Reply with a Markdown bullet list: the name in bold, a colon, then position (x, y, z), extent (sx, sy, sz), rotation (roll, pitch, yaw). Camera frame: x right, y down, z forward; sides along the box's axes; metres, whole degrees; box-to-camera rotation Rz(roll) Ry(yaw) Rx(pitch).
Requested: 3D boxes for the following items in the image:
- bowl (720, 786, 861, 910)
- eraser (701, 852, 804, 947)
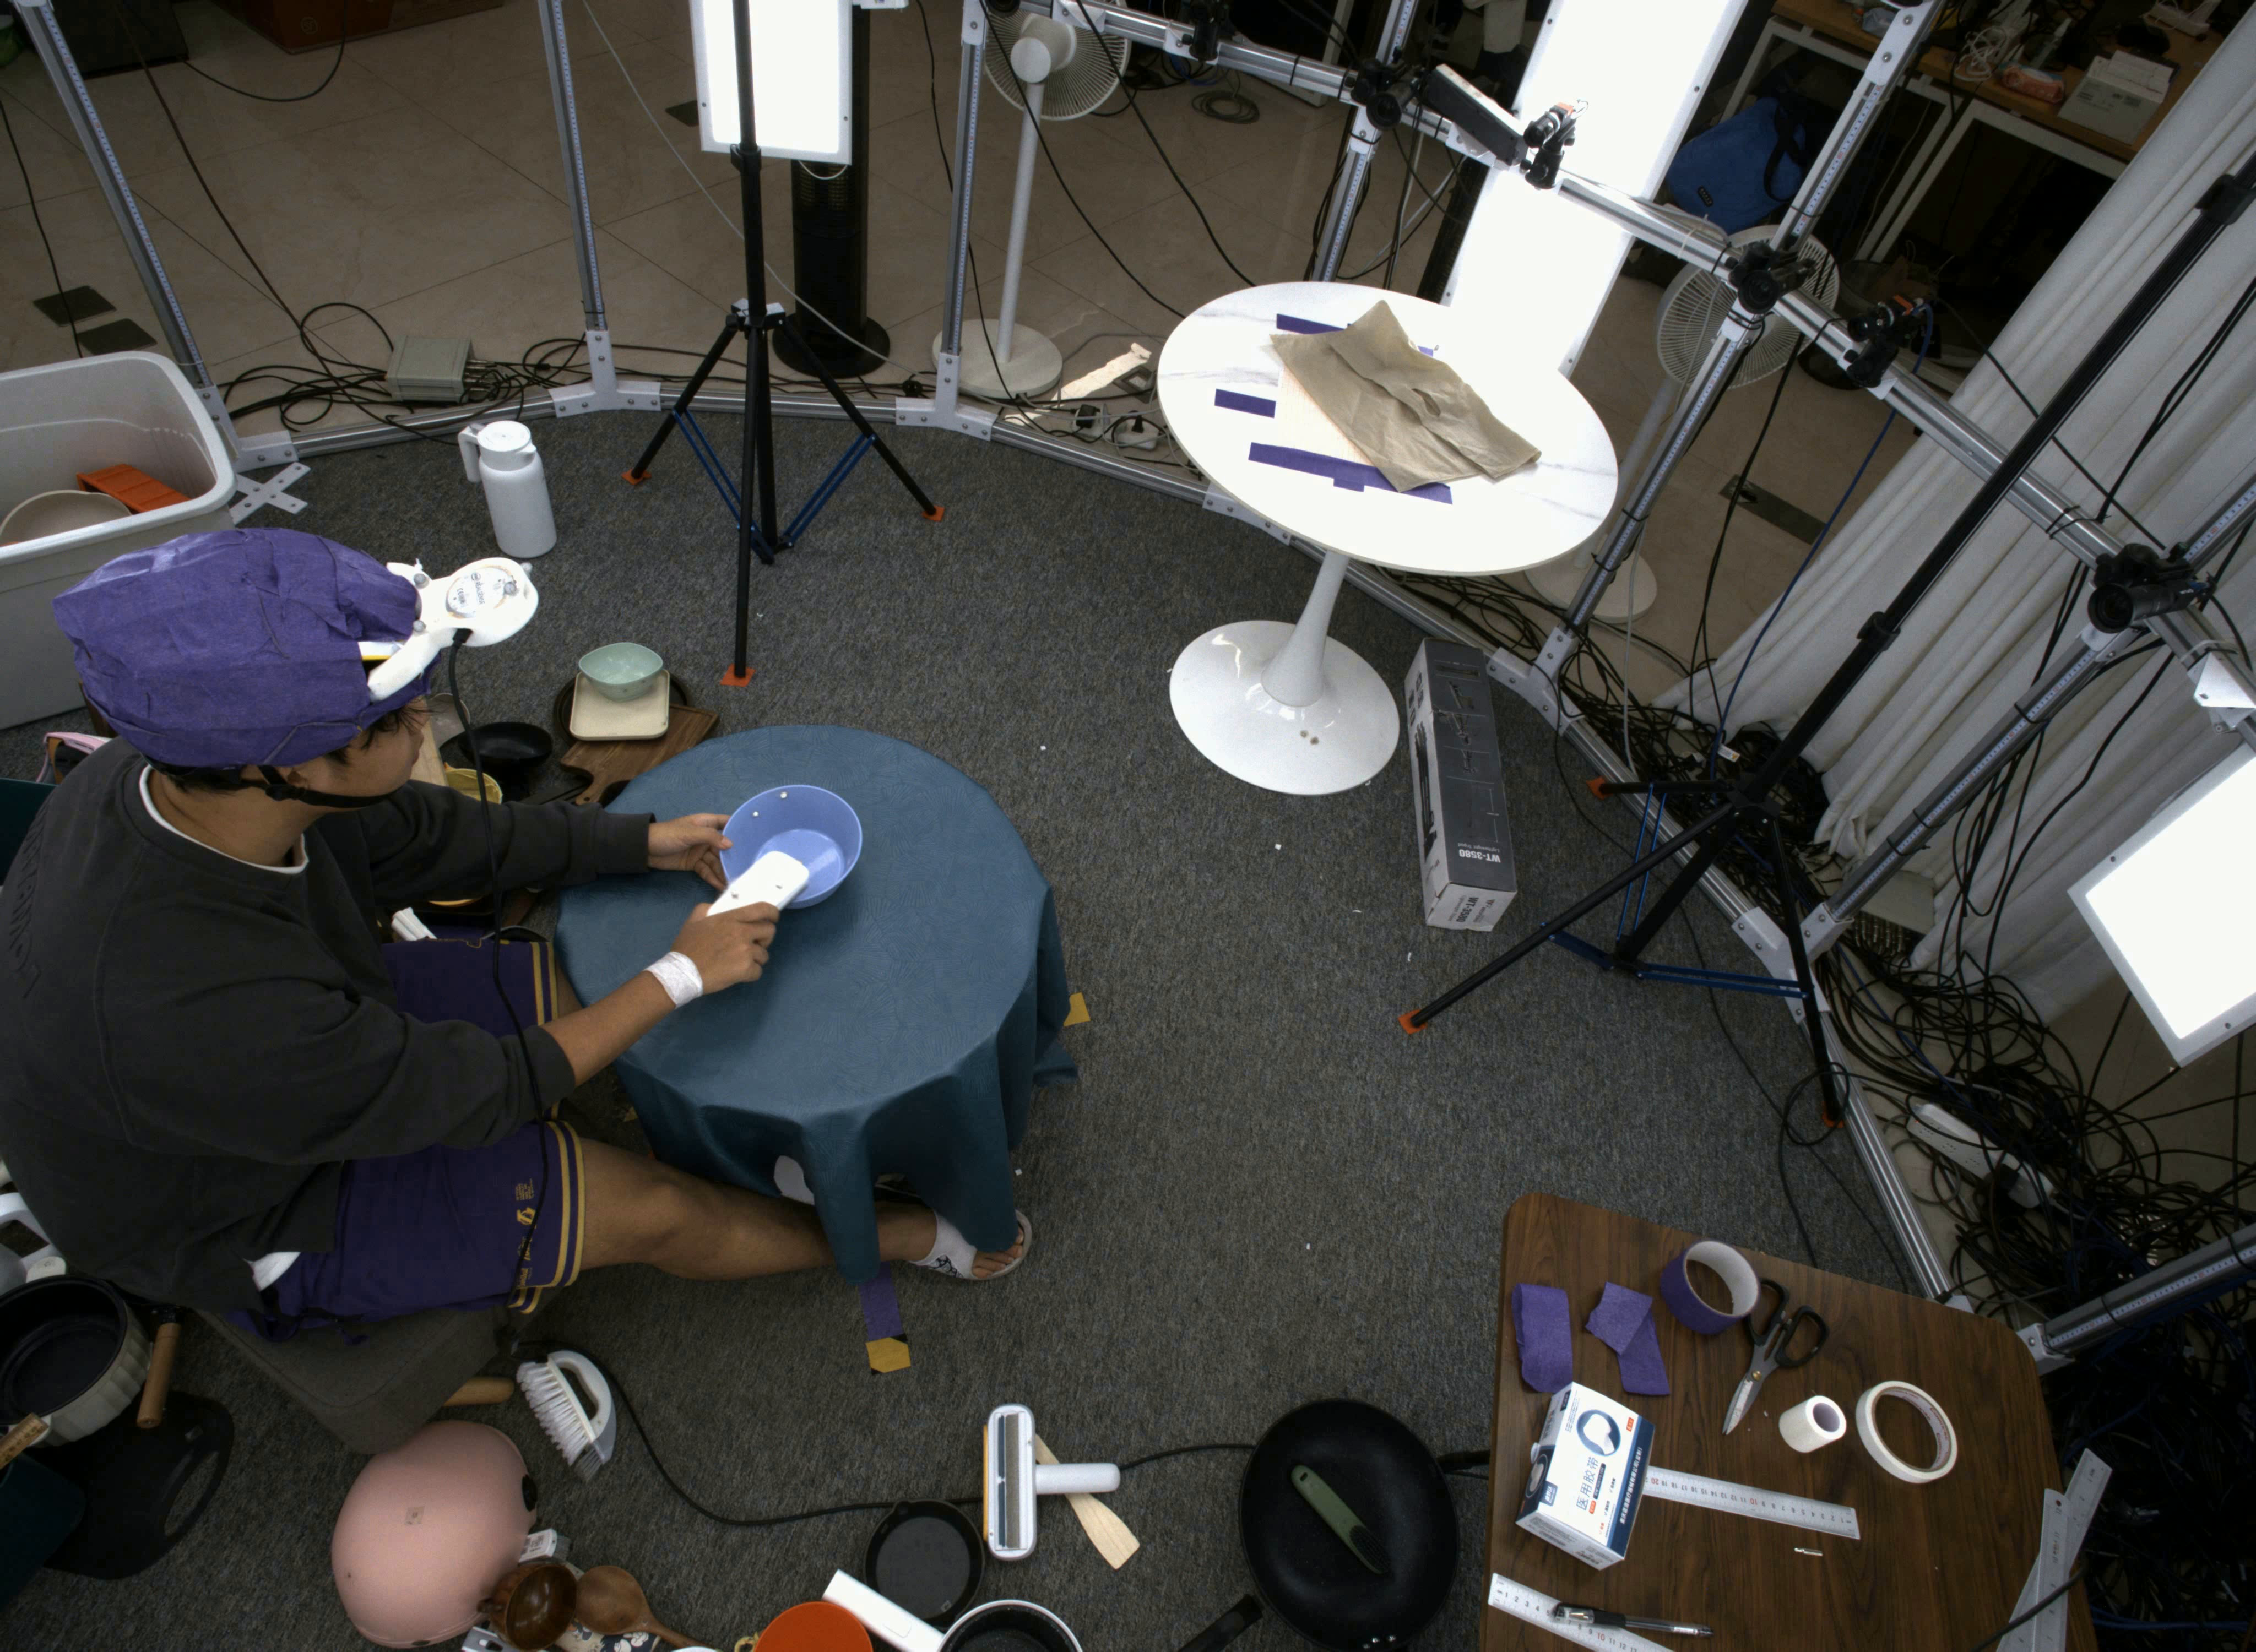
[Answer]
- **bowl**: position (-0.424, 0.038, 1.647), extent (0.174, 0.072, 0.173), rotation (3, 56, -3)
- **eraser**: position (-0.451, 0.083, 1.555), extent (0.062, 0.035, 0.131), rotation (30, 54, 17)
